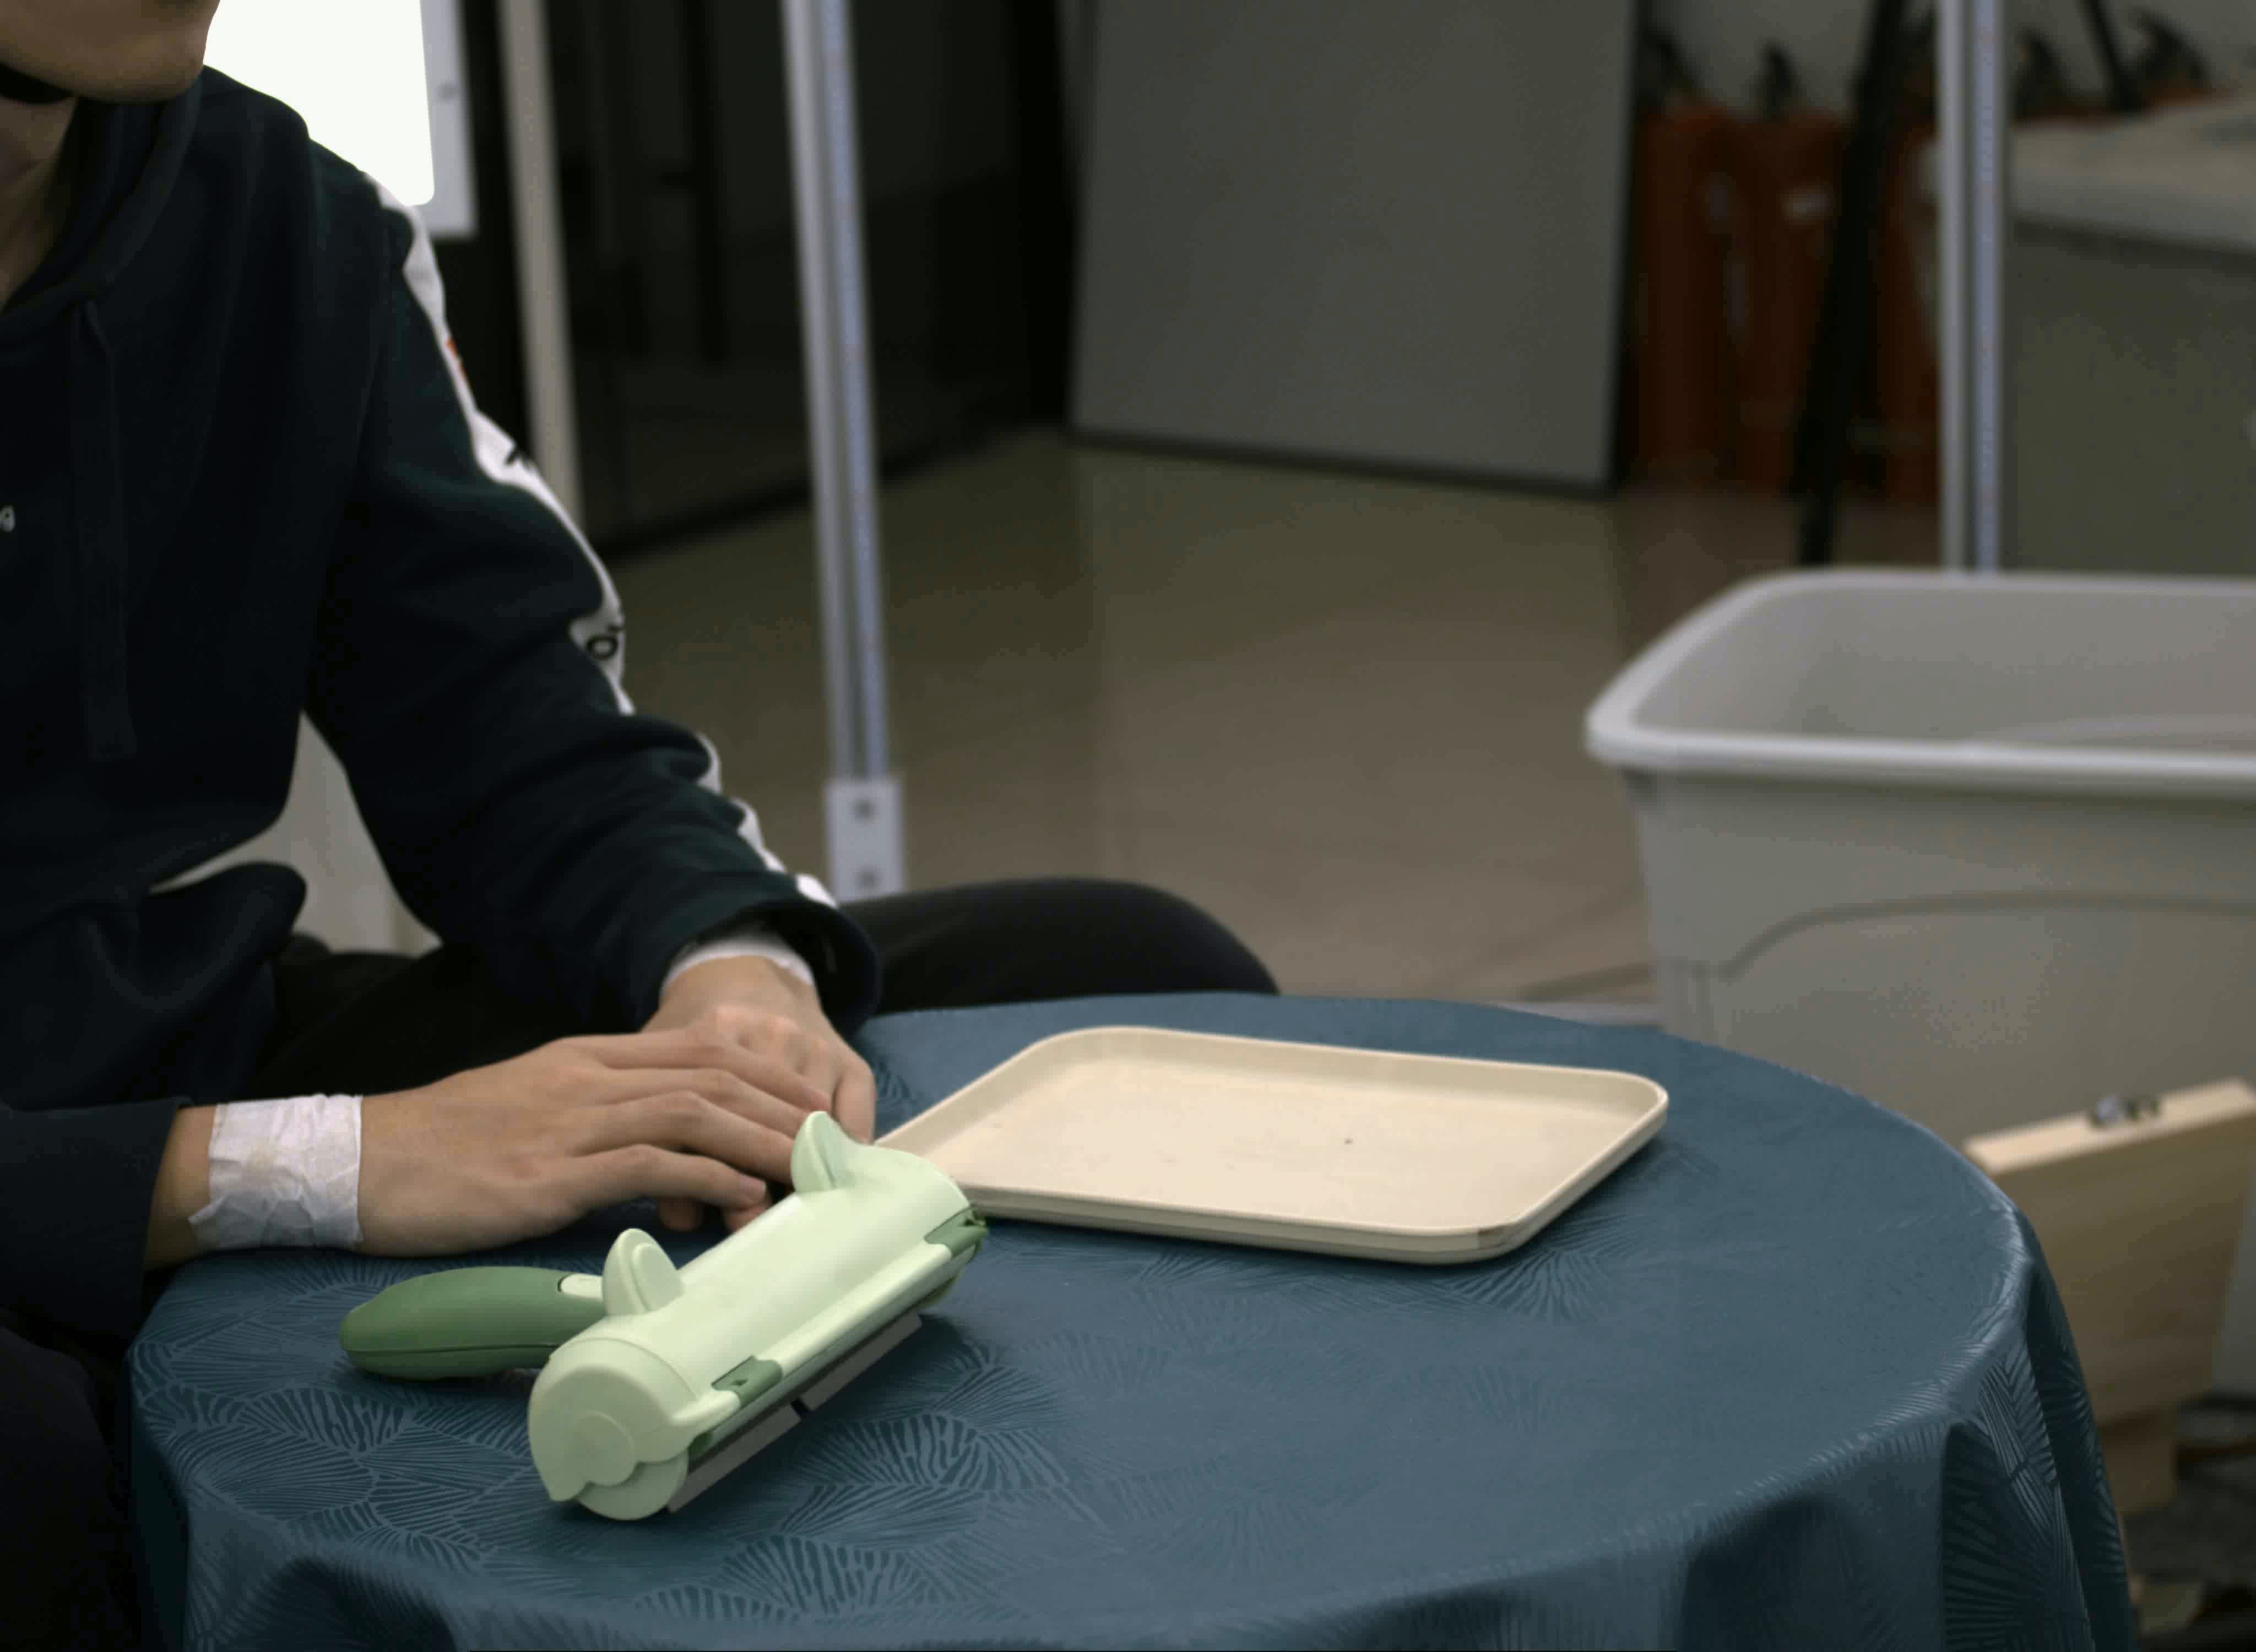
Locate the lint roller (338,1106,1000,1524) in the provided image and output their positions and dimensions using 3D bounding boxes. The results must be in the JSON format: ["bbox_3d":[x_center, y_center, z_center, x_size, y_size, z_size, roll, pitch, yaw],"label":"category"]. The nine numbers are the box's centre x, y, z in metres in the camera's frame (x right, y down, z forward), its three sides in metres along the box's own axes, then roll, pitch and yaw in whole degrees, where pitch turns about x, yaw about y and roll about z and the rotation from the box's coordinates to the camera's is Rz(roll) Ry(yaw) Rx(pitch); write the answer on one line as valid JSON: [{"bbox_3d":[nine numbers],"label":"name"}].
[{"bbox_3d":[-0.157,0.134,1.606,0.183,0.083,0.196,7,17,25],"label":"lint roller"}]

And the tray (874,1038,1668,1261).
[{"bbox_3d":[0.048,0.106,1.780,0.240,0.017,0.169,3,15,28],"label":"tray"}]
